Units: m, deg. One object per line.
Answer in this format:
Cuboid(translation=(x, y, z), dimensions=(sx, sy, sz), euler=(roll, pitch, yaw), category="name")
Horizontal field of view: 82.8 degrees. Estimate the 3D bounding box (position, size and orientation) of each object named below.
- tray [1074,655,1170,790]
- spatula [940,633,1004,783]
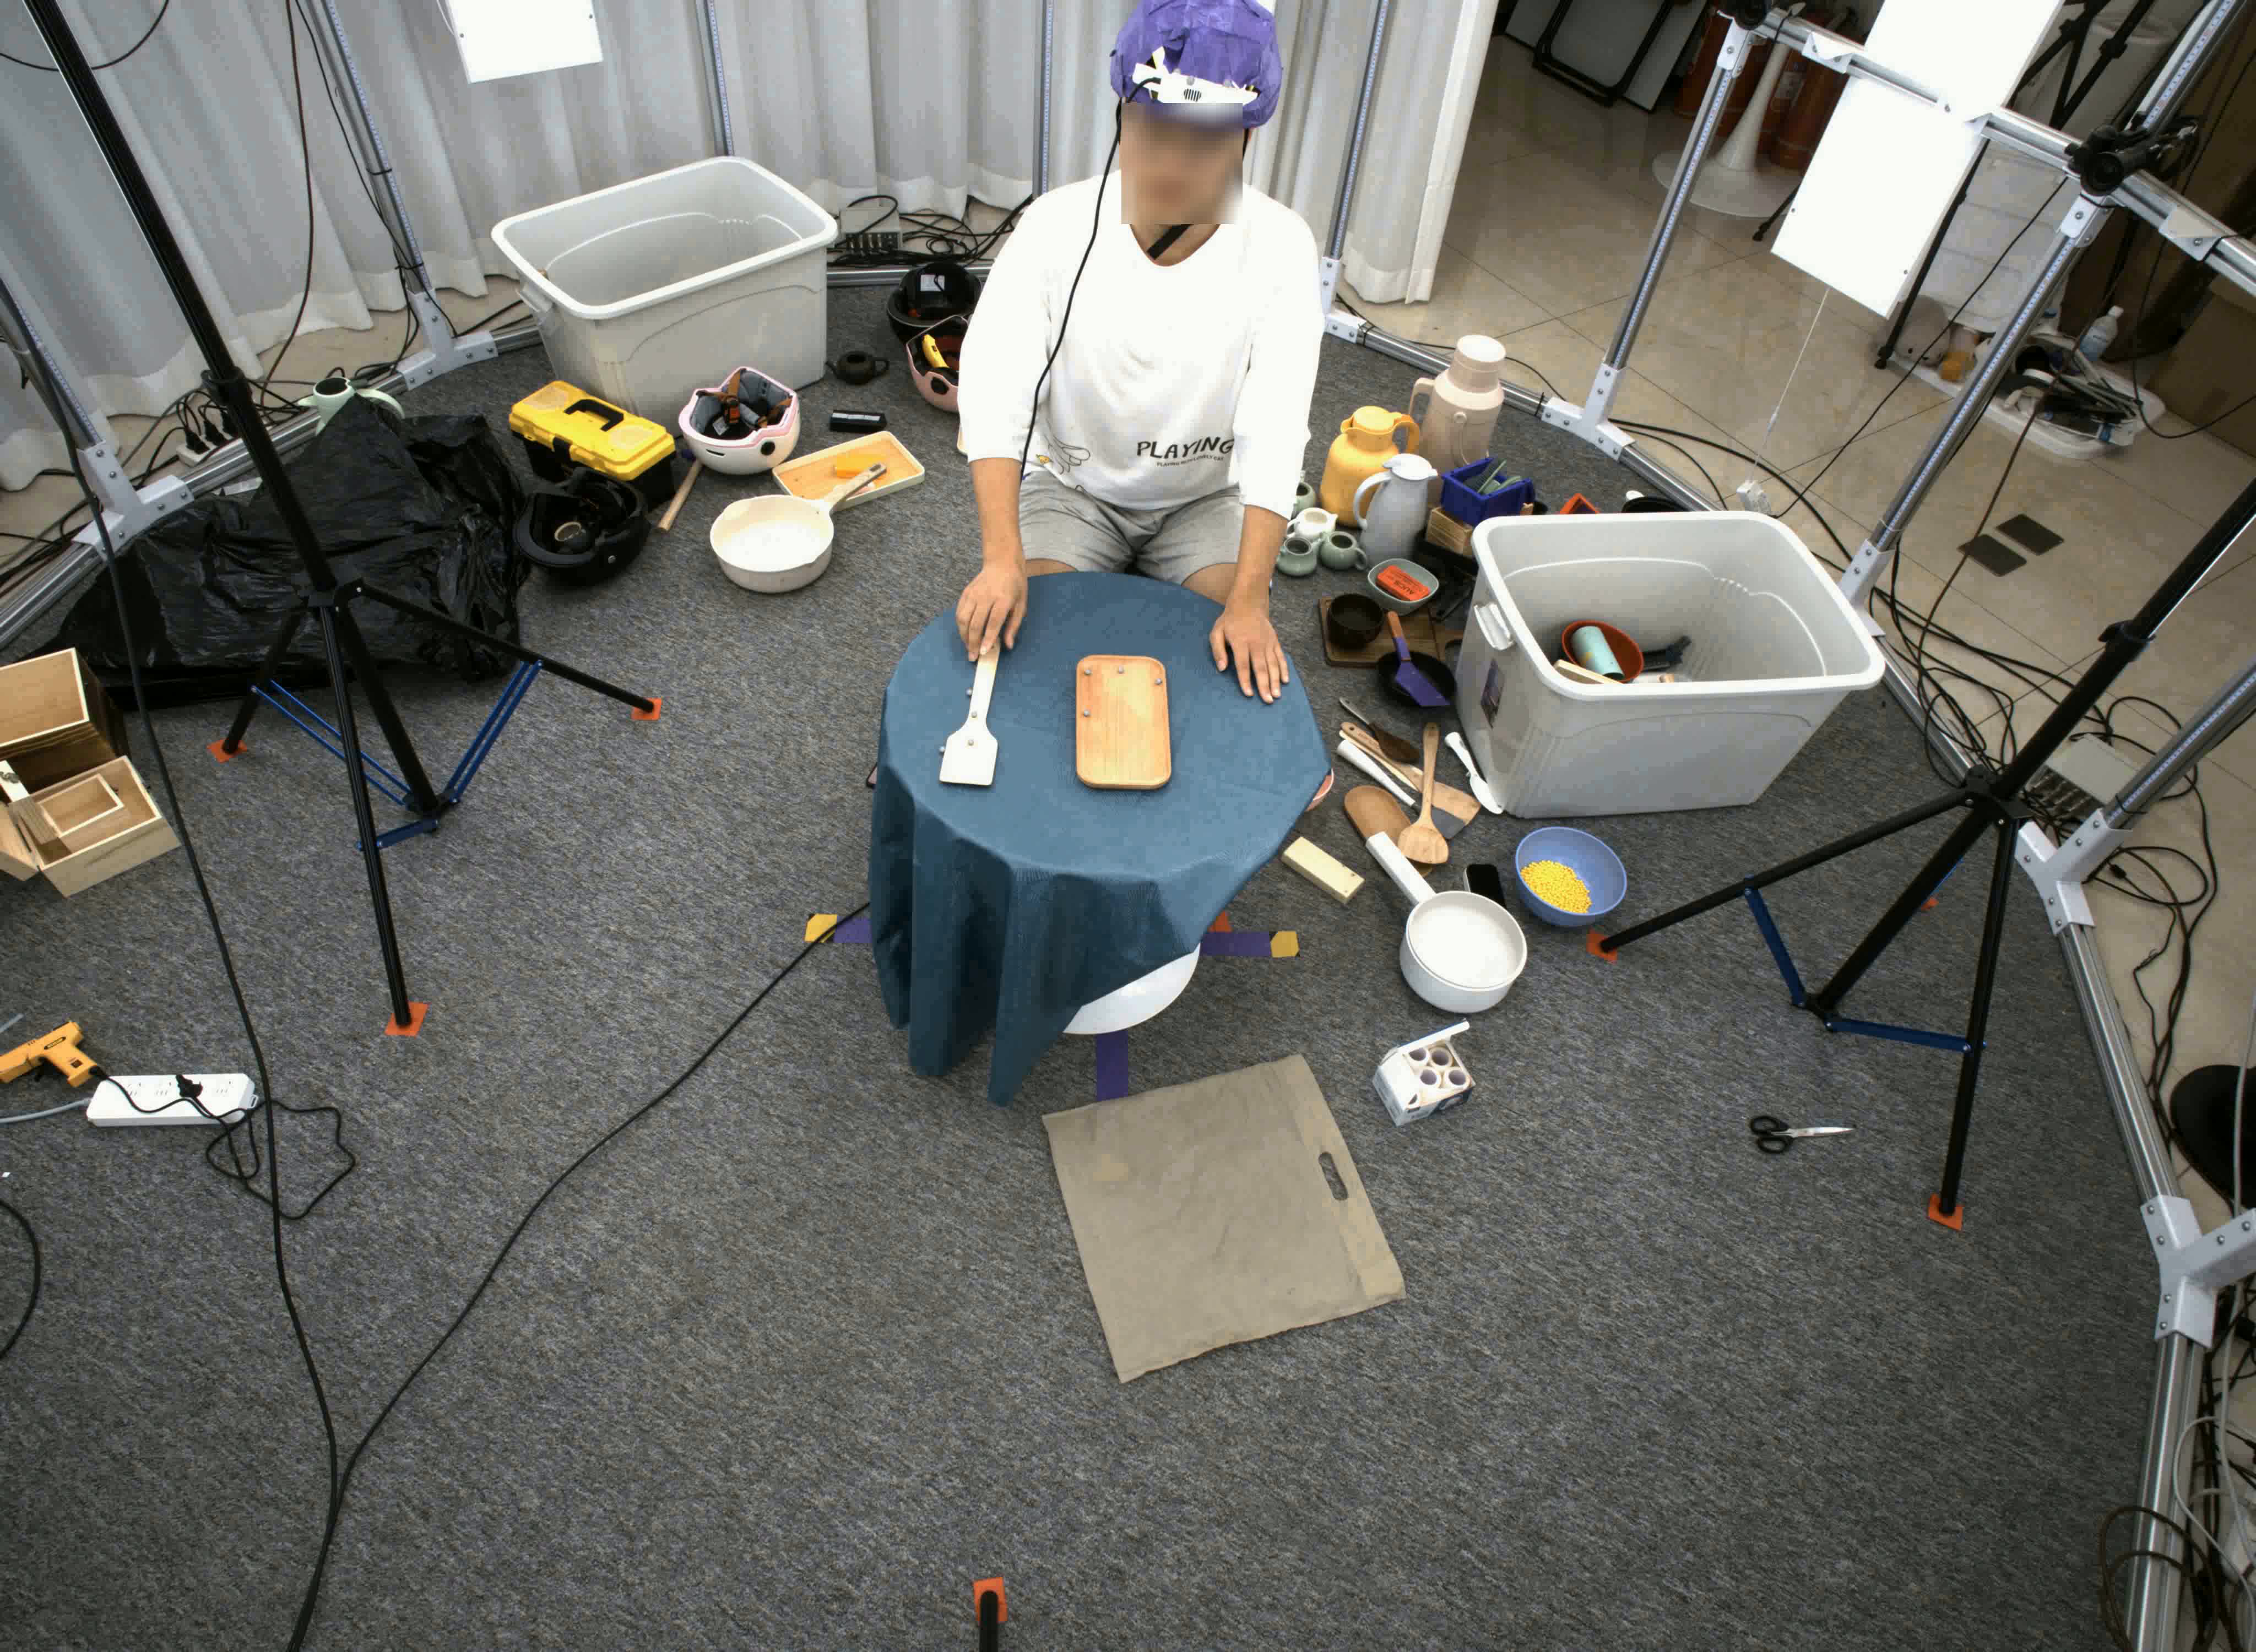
Cuboid(translation=(-0.009, -0.146, 1.780), dimensions=(0.130, 0.022, 0.257), euler=(1, 49, -1), category="tray")
Cuboid(translation=(-0.205, -0.169, 1.790), dimensions=(0.072, 0.010, 0.300), euler=(4, 49, 1), category="spatula")
